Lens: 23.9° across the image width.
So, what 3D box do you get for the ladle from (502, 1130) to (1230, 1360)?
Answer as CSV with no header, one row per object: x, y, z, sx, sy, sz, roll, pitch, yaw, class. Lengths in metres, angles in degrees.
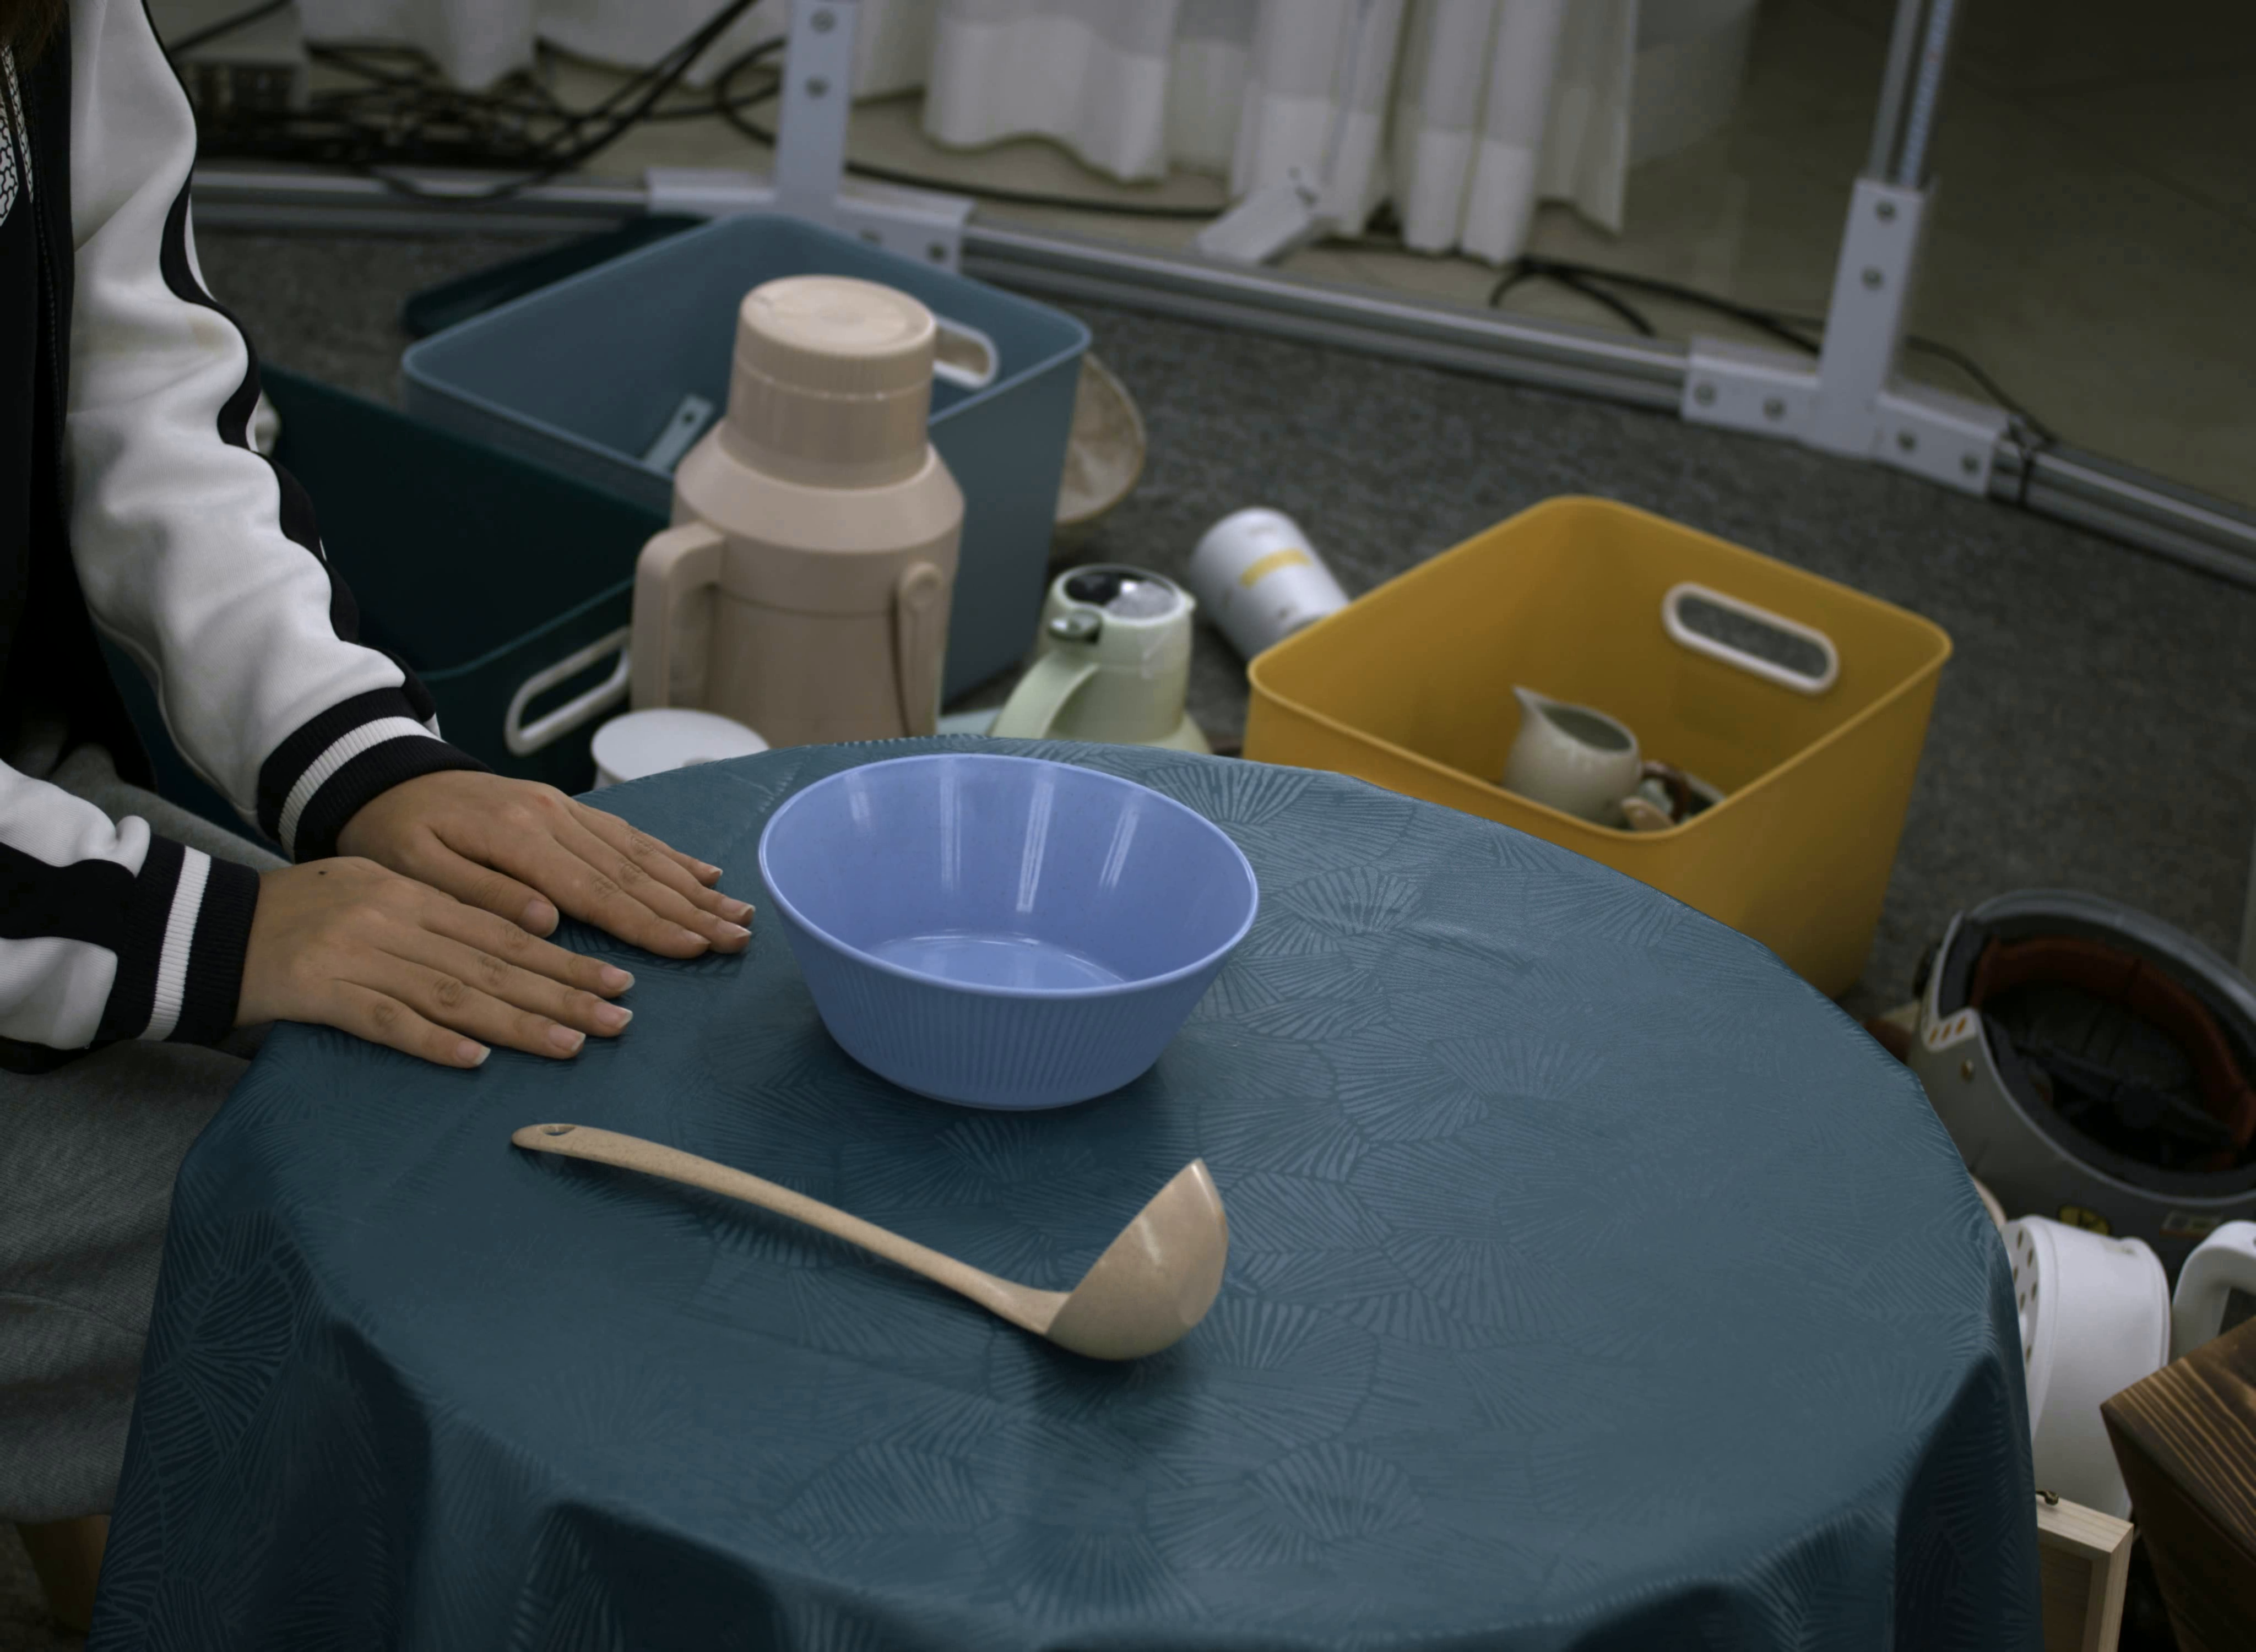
-0.089,0.109,1.730,0.255,0.072,0.072,17,24,19,ladle

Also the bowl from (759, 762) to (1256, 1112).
-0.045,0.045,1.871,0.175,0.070,0.177,6,26,-3,bowl
